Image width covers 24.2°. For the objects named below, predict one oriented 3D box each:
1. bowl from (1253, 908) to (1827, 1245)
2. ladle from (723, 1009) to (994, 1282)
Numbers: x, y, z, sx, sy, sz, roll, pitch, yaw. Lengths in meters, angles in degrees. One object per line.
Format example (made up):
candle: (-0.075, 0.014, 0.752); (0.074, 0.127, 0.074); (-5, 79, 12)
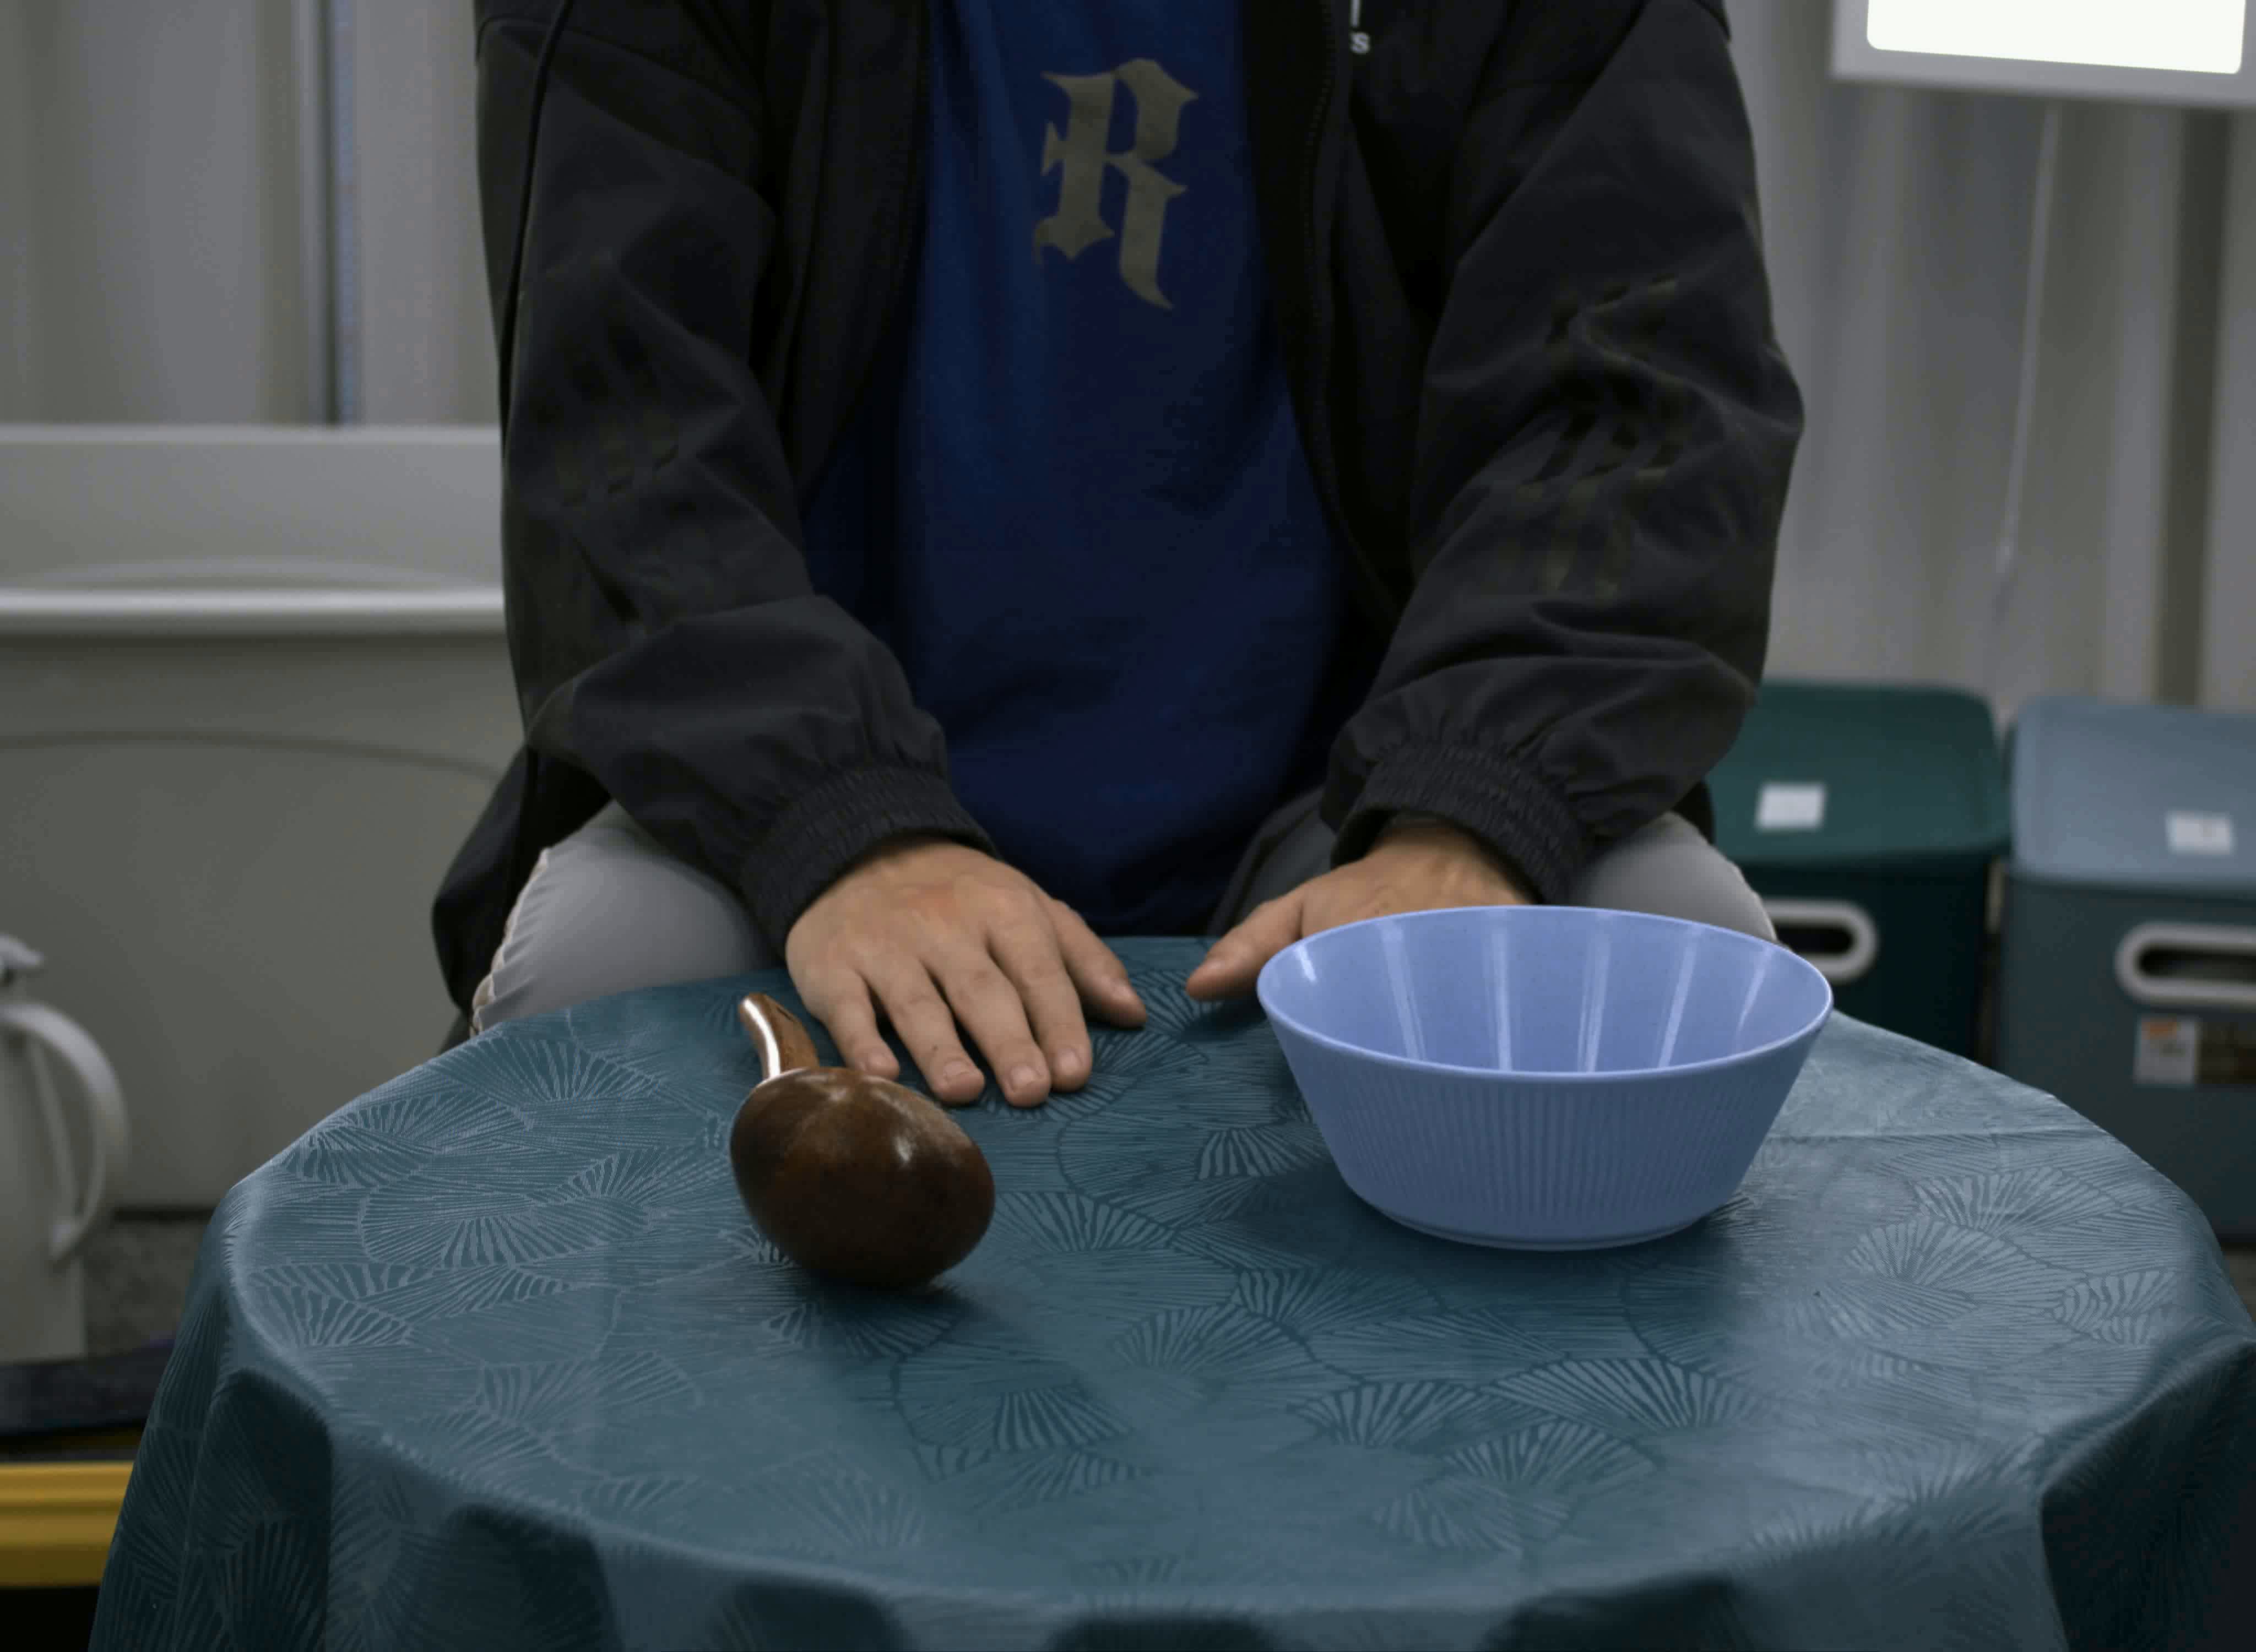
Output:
bowl: (0.125, 0.079, 1.617); (0.175, 0.071, 0.175); (1, 15, 0)
ladle: (-0.086, 0.075, 1.623); (0.082, 0.076, 0.272); (44, 8, -12)
